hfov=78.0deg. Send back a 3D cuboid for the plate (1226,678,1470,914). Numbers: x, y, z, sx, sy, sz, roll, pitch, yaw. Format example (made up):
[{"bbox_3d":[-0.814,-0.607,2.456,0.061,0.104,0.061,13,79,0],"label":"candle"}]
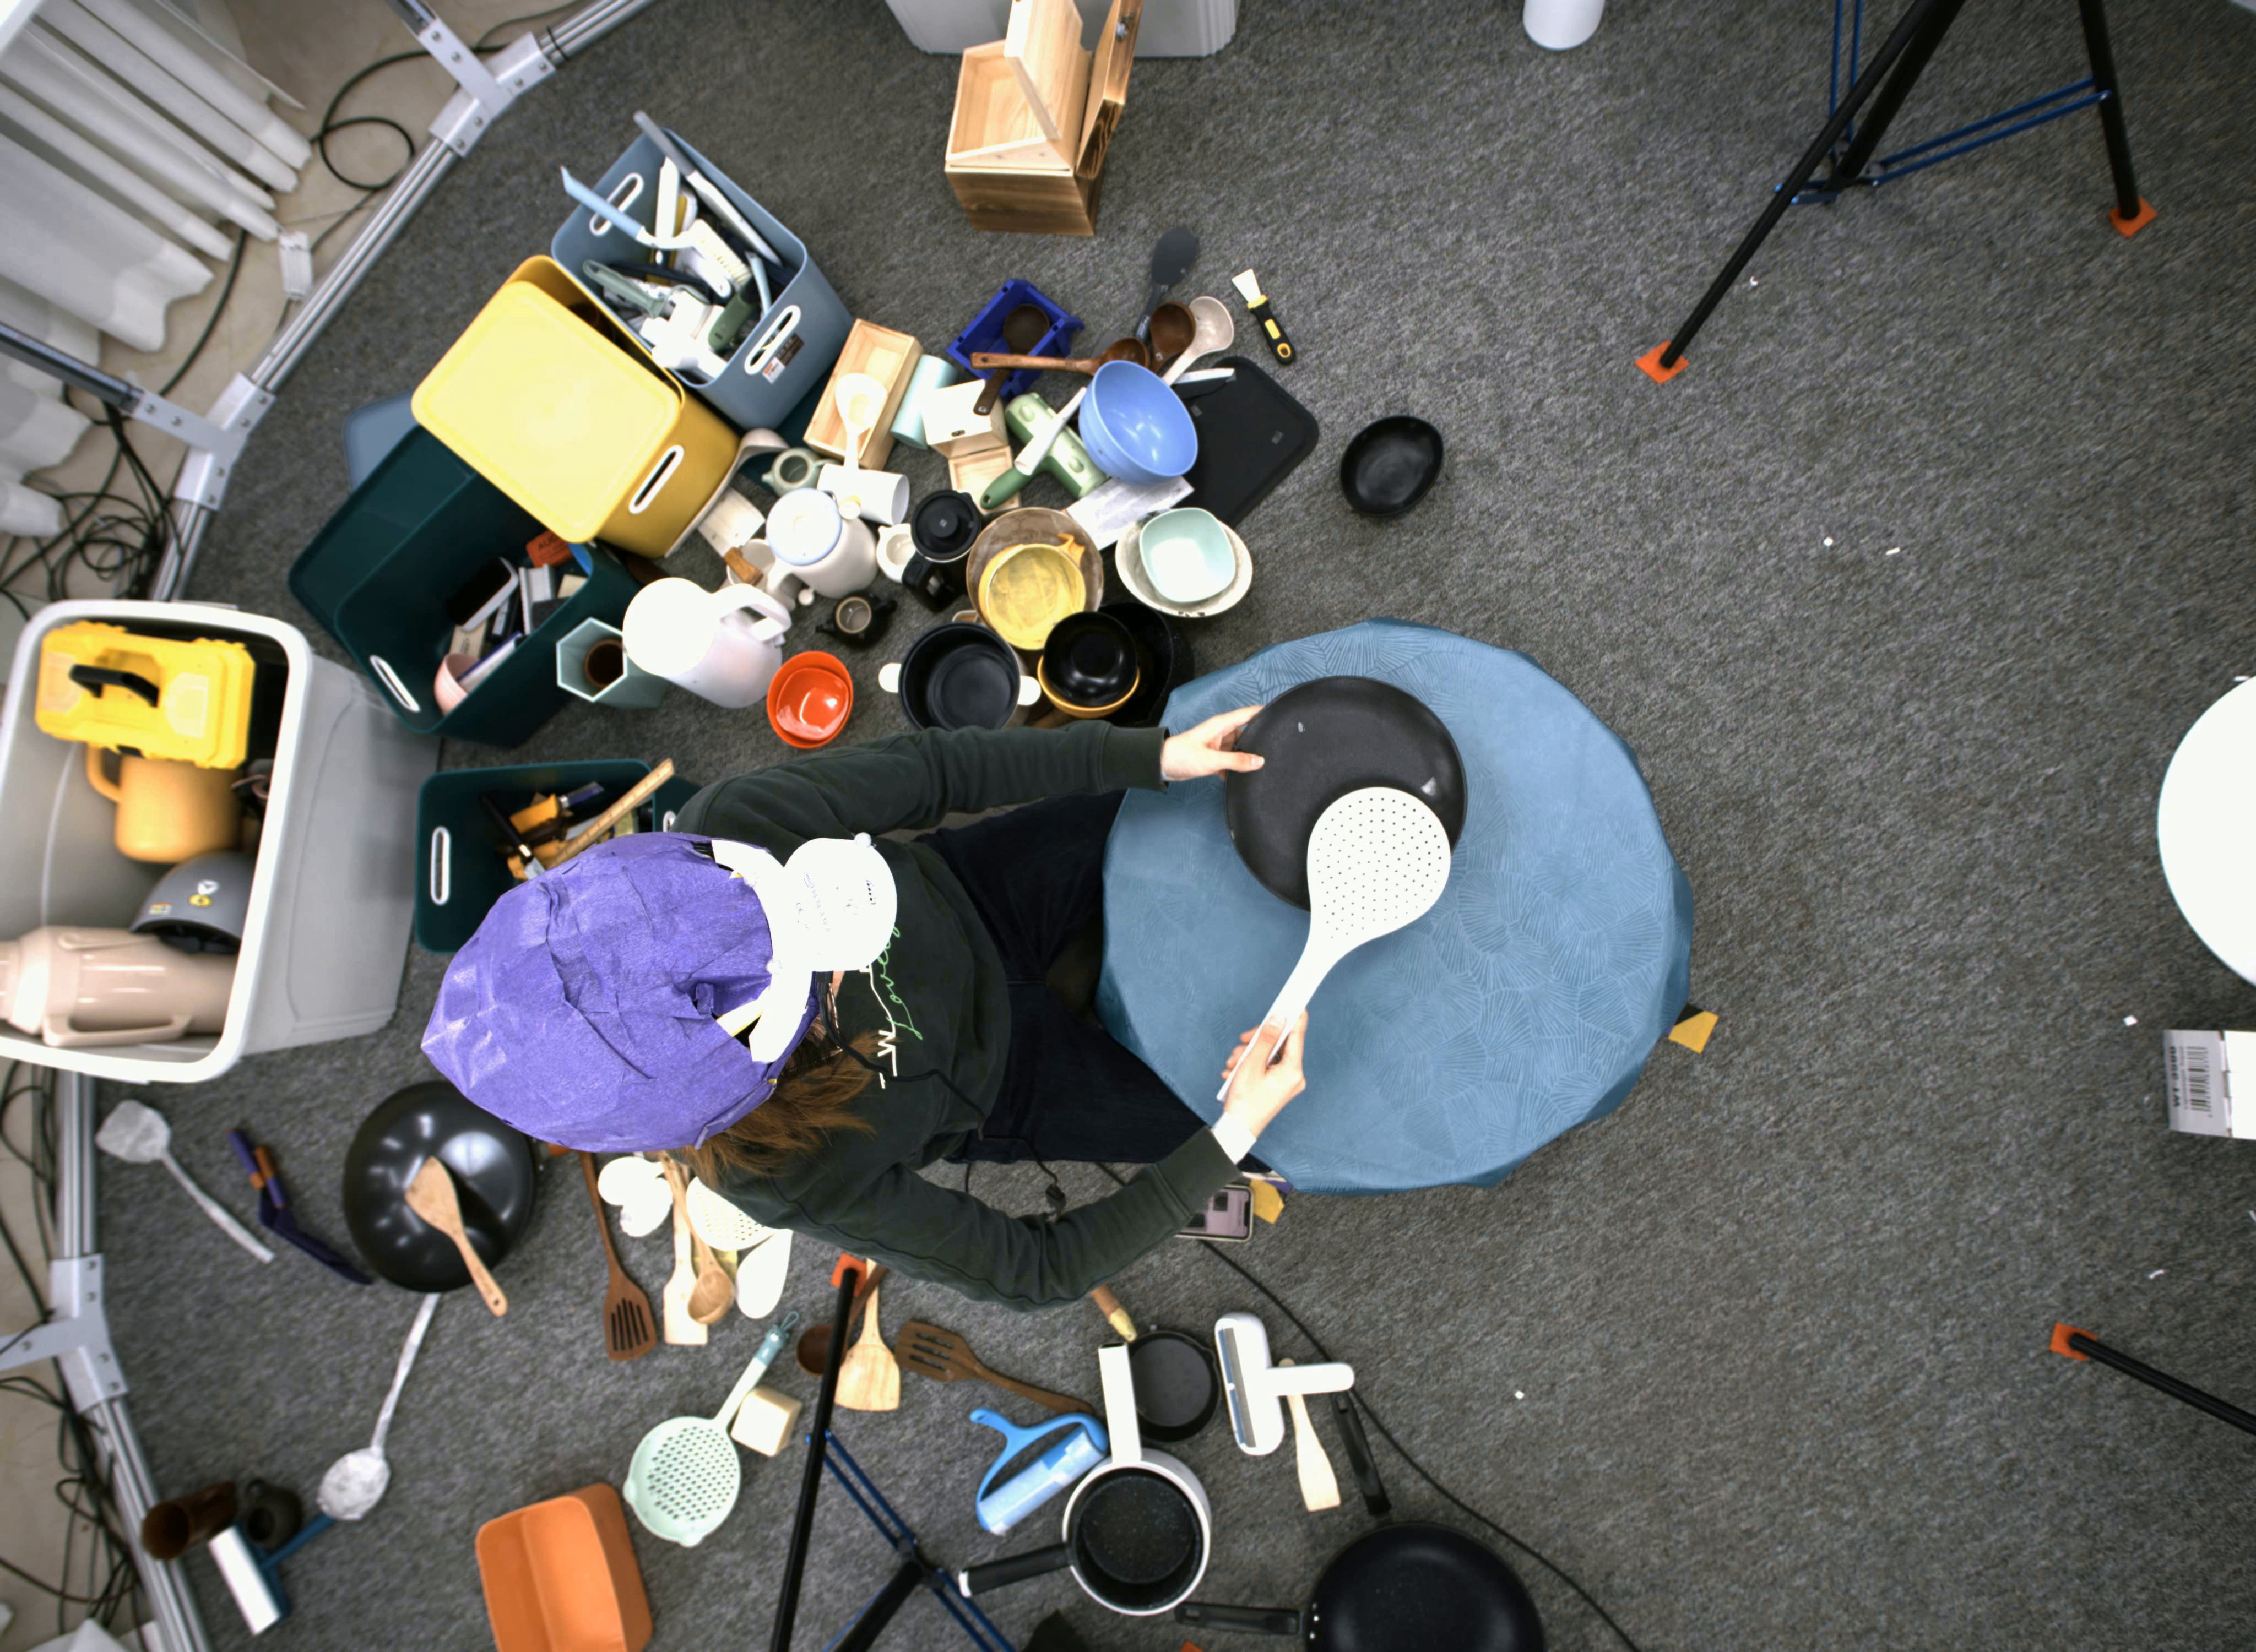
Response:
[{"bbox_3d":[0.220,-0.029,1.393,0.245,0.023,0.246,1,99,7],"label":"plate"}]

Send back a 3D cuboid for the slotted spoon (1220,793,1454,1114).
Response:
[{"bbox_3d":[0.192,0.127,1.352,0.135,0.046,0.349,32,88,15],"label":"slotted spoon"}]
